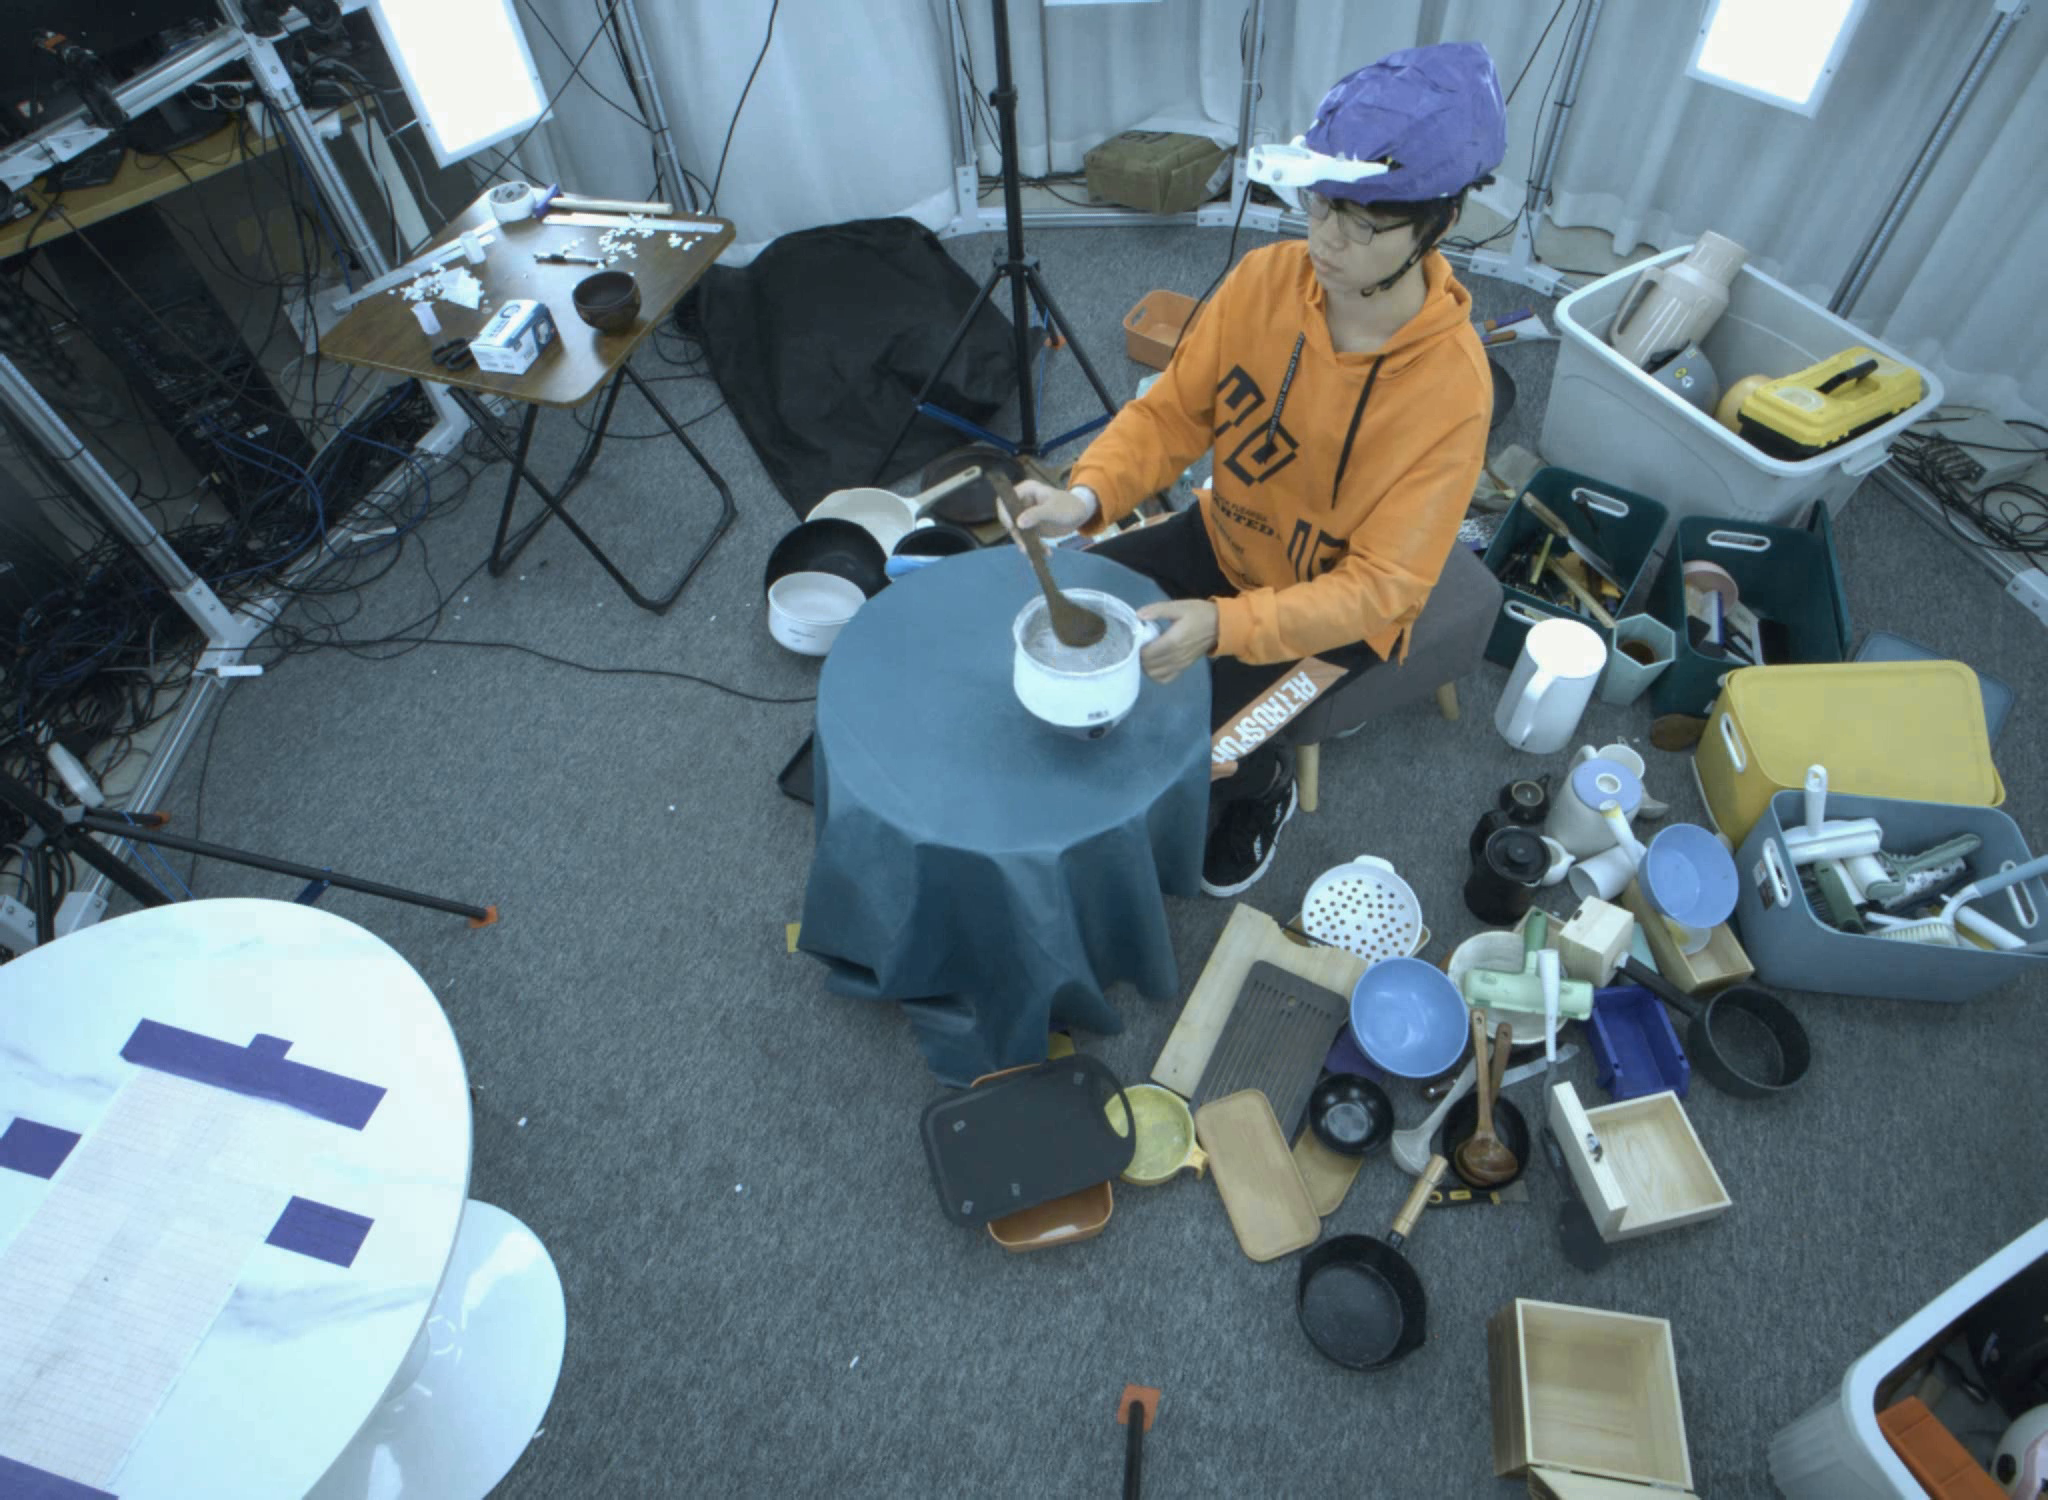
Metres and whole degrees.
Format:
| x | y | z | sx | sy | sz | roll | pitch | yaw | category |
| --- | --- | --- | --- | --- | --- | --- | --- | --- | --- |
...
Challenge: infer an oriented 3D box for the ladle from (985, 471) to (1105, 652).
| x | y | z | sx | sy | sz | roll | pitch | yaw | category |
| --- | --- | --- | --- | --- | --- | --- | --- | --- | --- |
| 0.027 | -0.259 | 1.652 | 0.077 | 0.070 | 0.275 | -31 | 101 | -34 | ladle |

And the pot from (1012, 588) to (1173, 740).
| x | y | z | sx | sy | sz | roll | pitch | yaw | category |
| --- | --- | --- | --- | --- | --- | --- | --- | --- | --- |
| 0.099 | -0.127 | 1.719 | 0.236 | 0.138 | 0.175 | -15 | 51 | -14 | pot |
